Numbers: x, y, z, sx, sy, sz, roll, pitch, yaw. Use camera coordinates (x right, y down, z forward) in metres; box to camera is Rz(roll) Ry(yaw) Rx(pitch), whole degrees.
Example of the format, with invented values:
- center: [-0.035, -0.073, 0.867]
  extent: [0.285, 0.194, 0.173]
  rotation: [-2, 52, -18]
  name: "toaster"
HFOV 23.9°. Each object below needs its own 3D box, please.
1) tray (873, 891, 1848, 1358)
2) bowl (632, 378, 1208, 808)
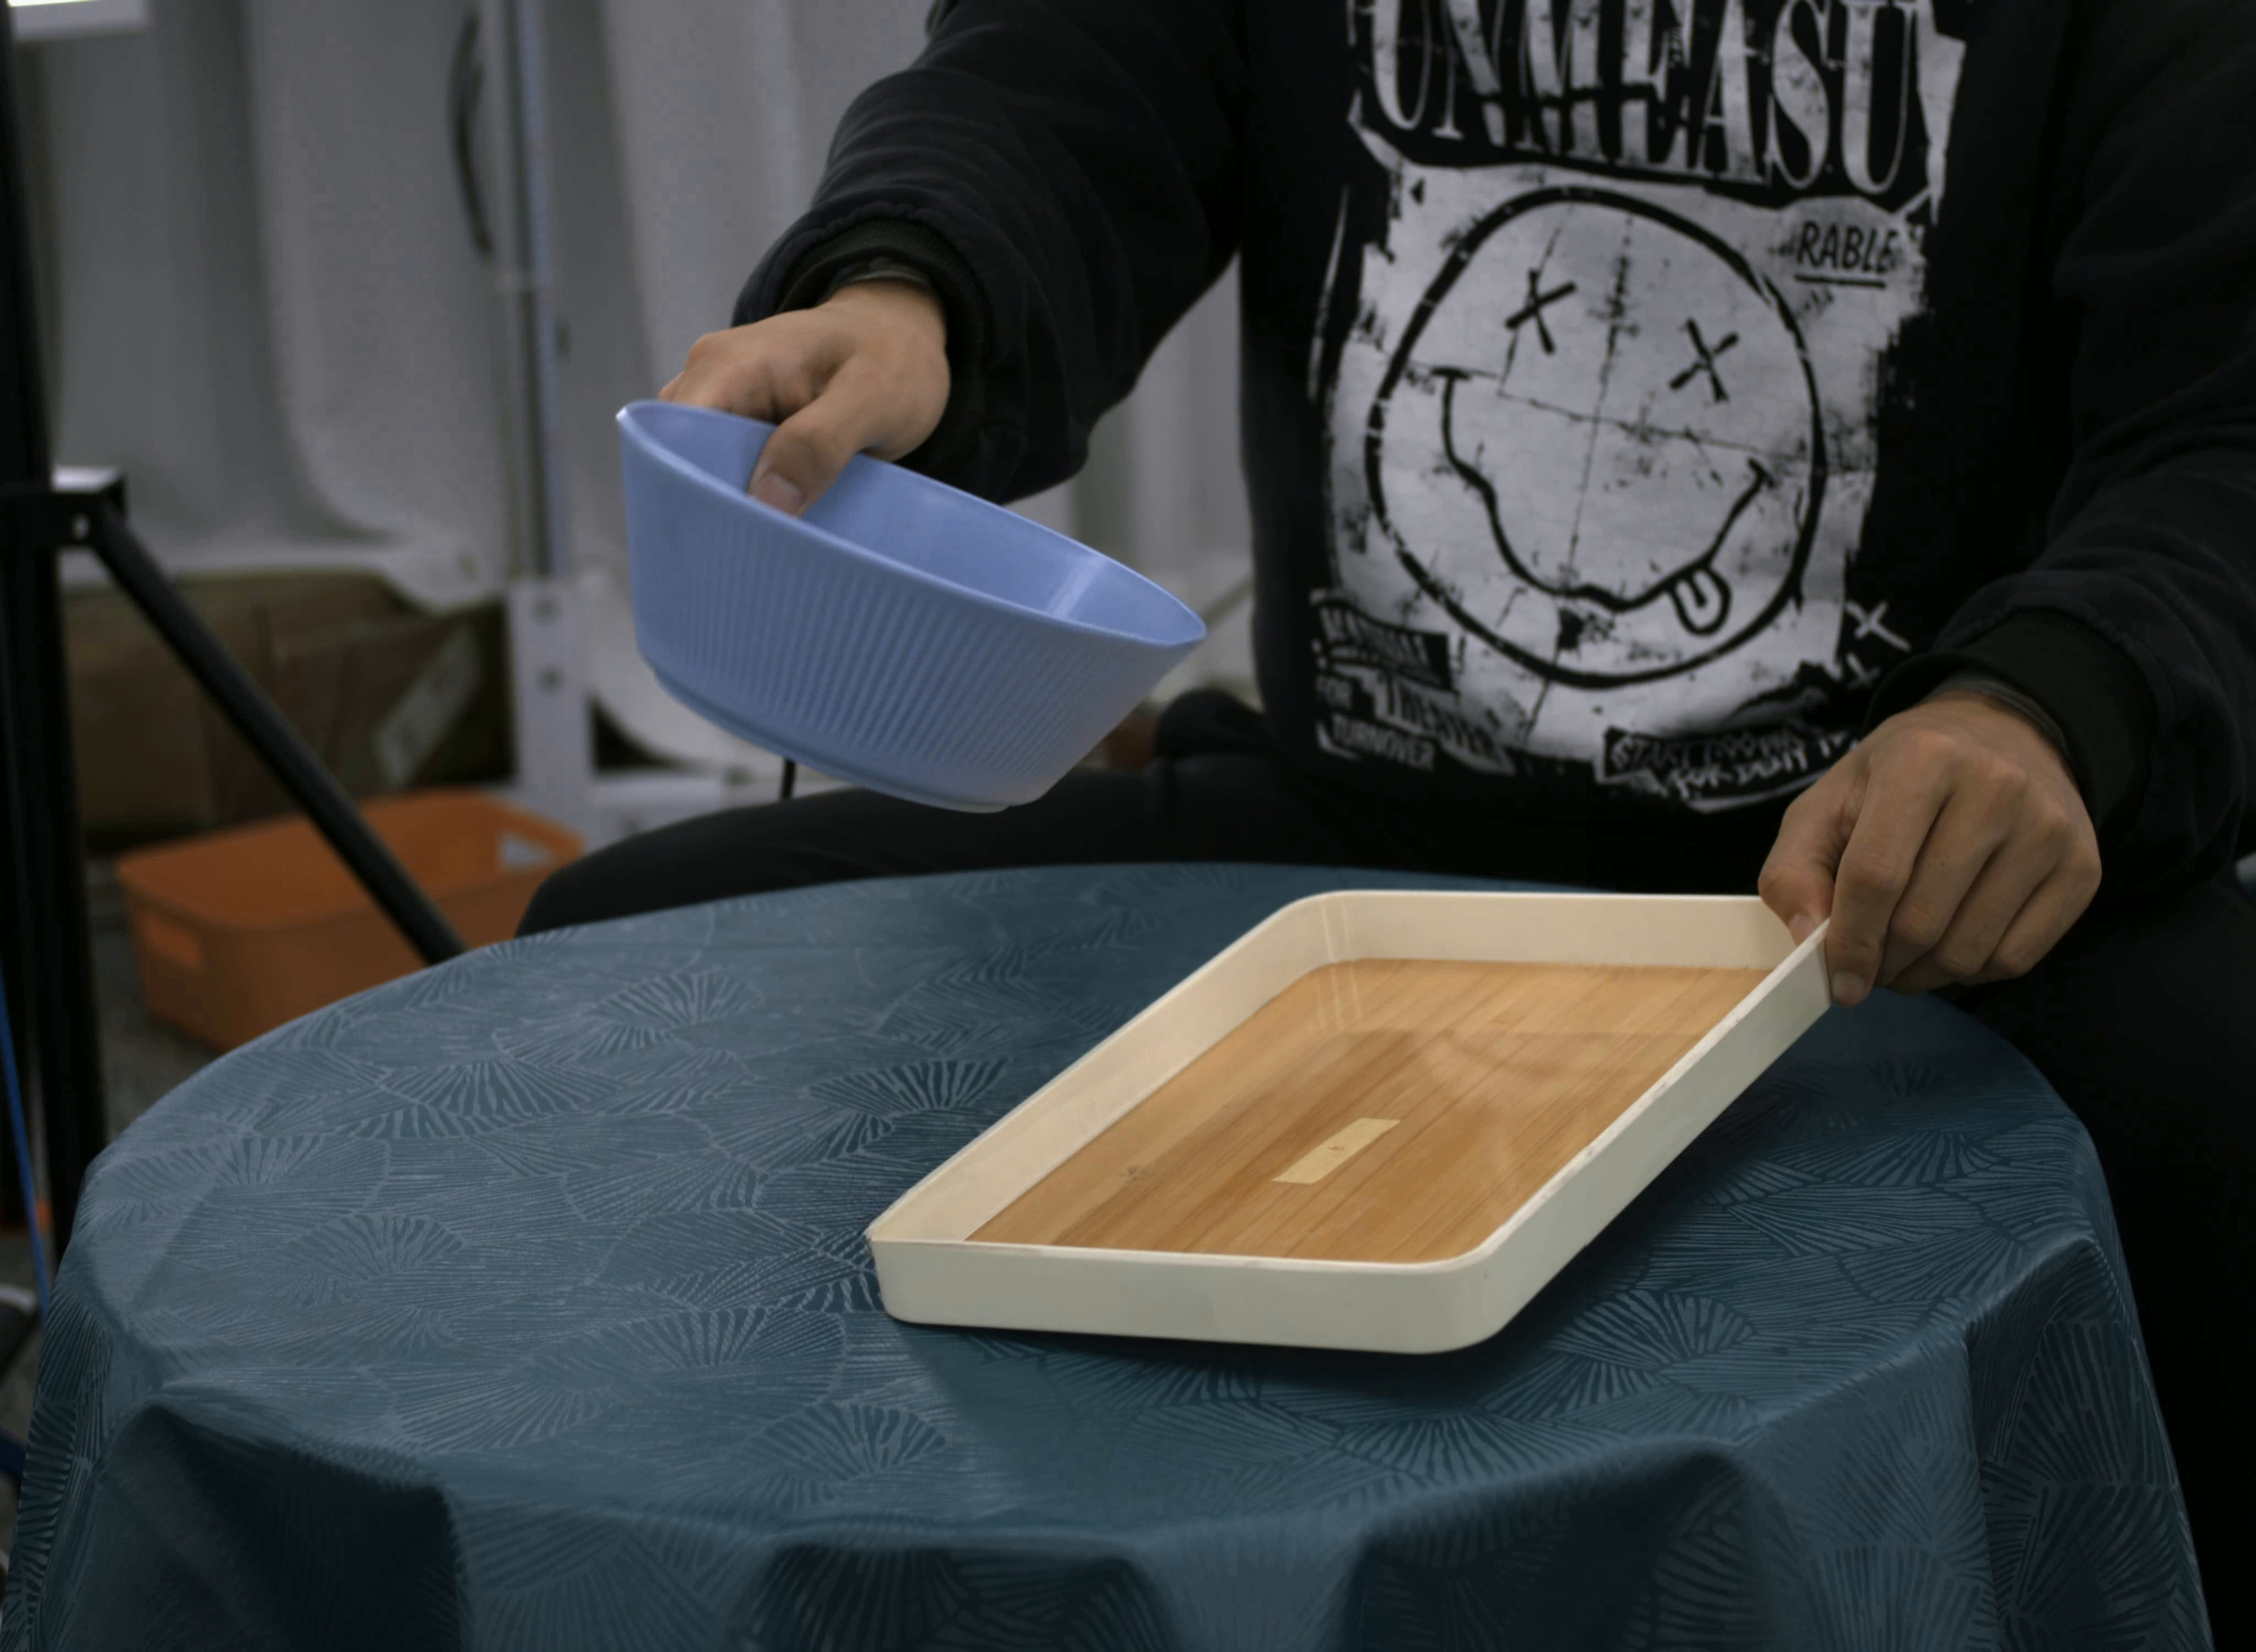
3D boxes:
- center: [0.075, 0.081, 1.538]
  extent: [0.195, 0.027, 0.296]
  rotation: [0, 19, 29]
  name: "tray"
- center: [-0.069, -0.059, 1.494]
  extent: [0.174, 0.070, 0.177]
  rotation: [22, 11, -6]
  name: "bowl"
